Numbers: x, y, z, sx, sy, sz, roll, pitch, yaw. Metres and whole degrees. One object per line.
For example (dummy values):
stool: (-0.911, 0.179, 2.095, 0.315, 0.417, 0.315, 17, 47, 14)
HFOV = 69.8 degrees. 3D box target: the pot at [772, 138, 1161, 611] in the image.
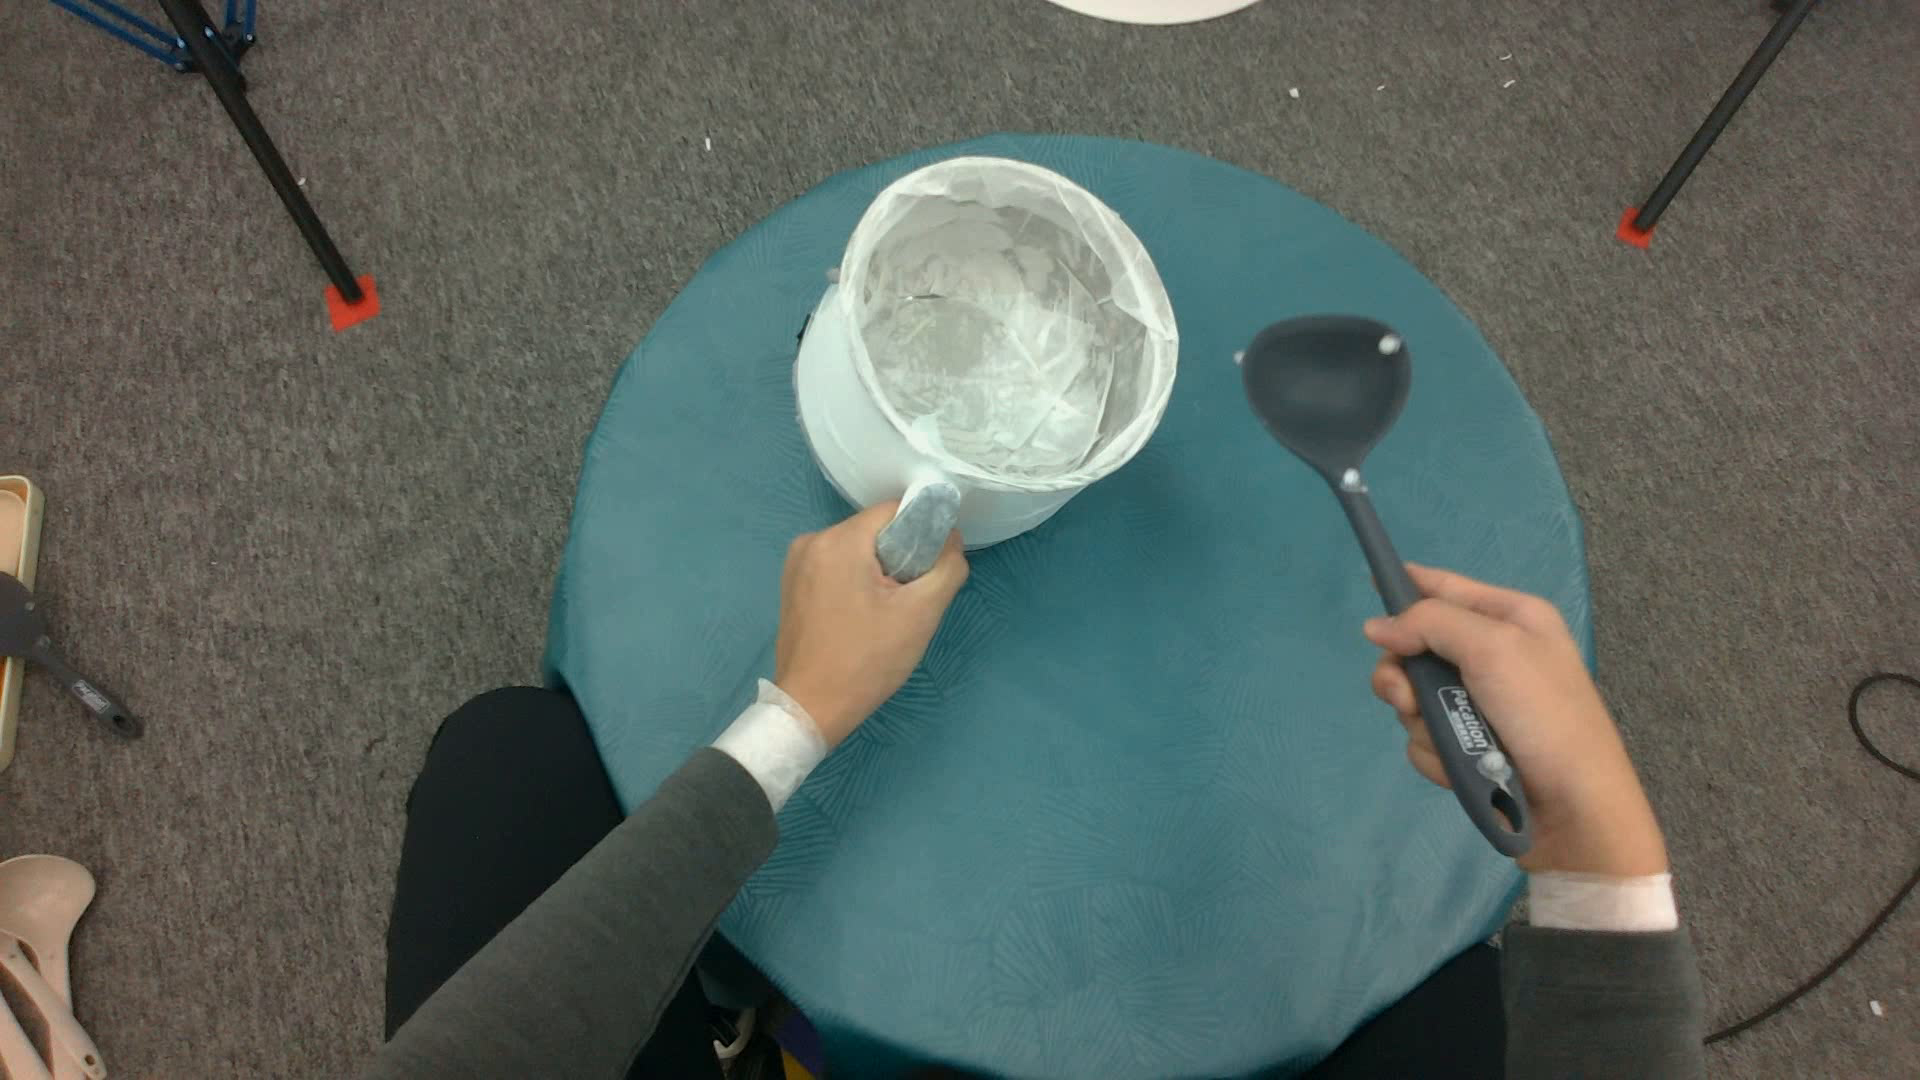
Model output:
pot: (-0.011, -0.076, 0.720, 0.179, 0.136, 0.234, 26, 68, -12)

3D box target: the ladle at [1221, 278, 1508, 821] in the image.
ladle: (0.181, -0.016, 0.601, 0.086, 0.063, 0.315, -7, 38, 3)
